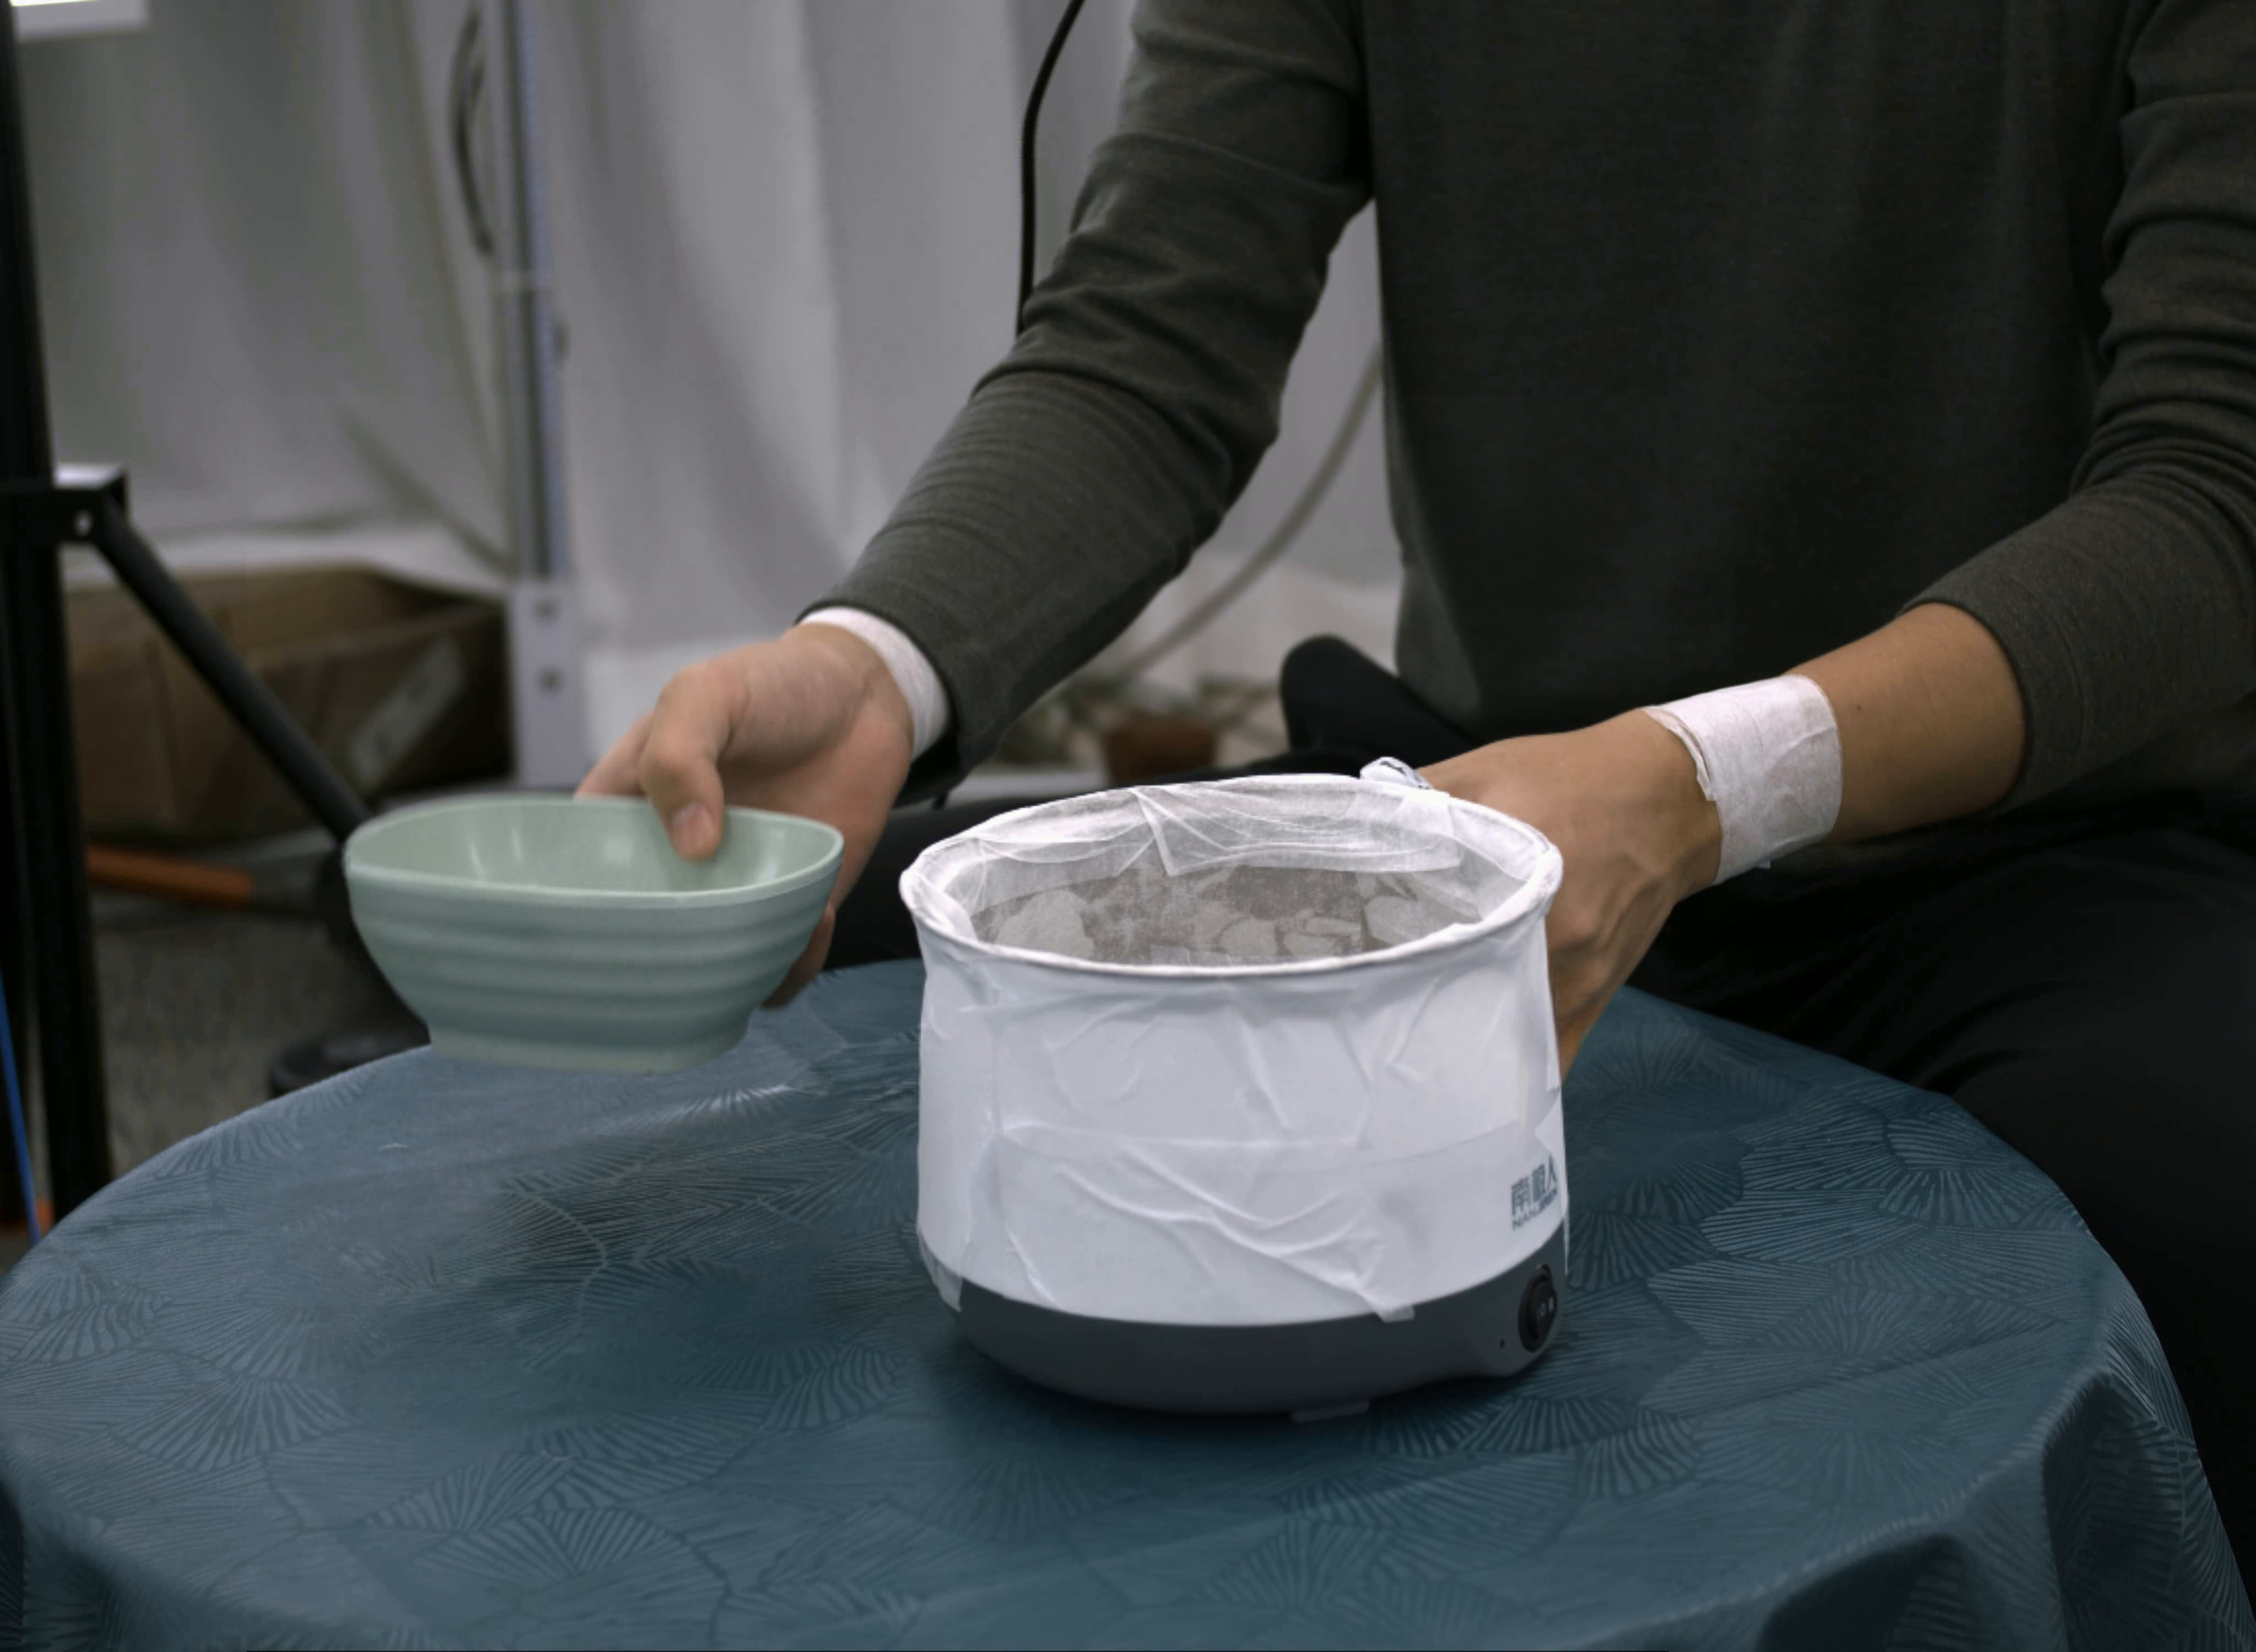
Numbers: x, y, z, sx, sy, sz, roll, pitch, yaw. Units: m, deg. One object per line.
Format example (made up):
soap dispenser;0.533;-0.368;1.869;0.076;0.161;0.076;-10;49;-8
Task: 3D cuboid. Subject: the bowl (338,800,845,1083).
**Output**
bowl;-0.152;0.035;1.527;0.150;0.059;0.152;0;12;-1

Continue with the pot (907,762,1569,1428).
pot;0.043;0.066;1.454;0.181;0.136;0.230;6;17;27
